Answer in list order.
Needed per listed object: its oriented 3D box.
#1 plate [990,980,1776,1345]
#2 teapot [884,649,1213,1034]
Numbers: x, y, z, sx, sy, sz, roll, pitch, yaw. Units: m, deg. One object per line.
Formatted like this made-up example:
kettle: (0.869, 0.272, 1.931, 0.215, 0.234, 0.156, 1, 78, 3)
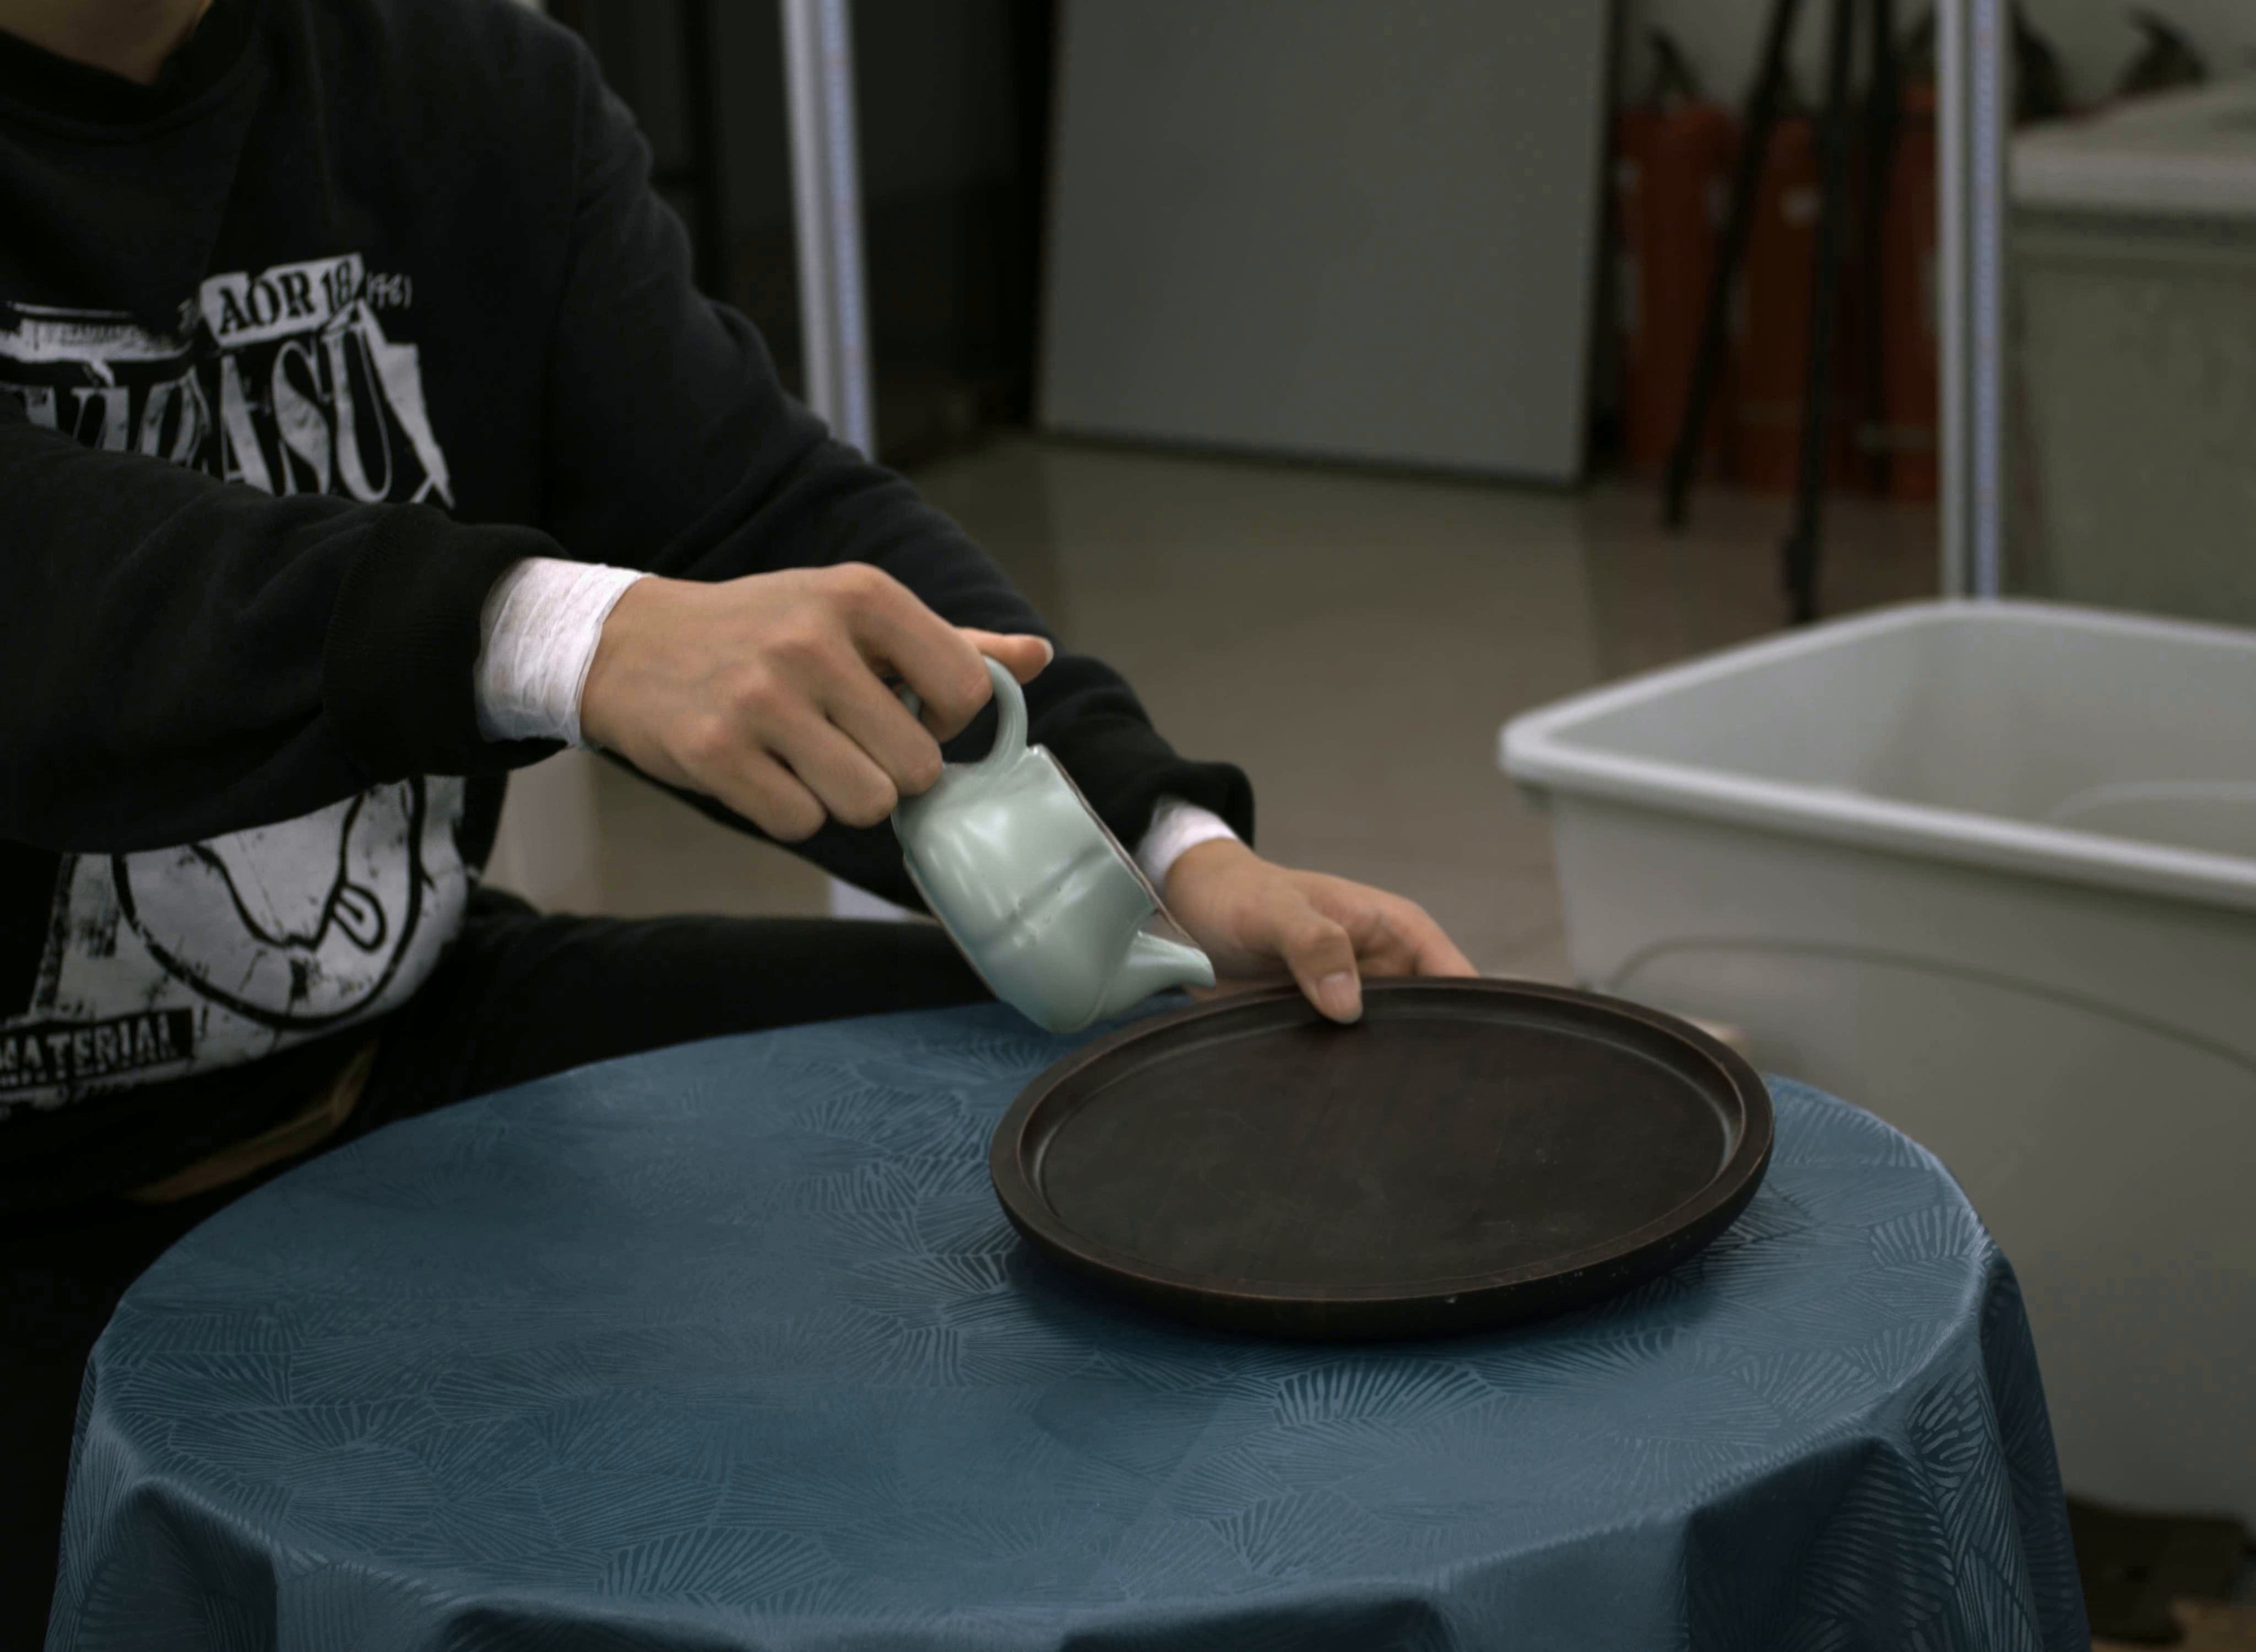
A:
plate: (0.081, 0.104, 1.715, 0.251, 0.029, 0.255, -5, 22, 1)
teapot: (-0.034, 0.011, 1.643, 0.061, 0.136, 0.096, -36, 16, 2)
